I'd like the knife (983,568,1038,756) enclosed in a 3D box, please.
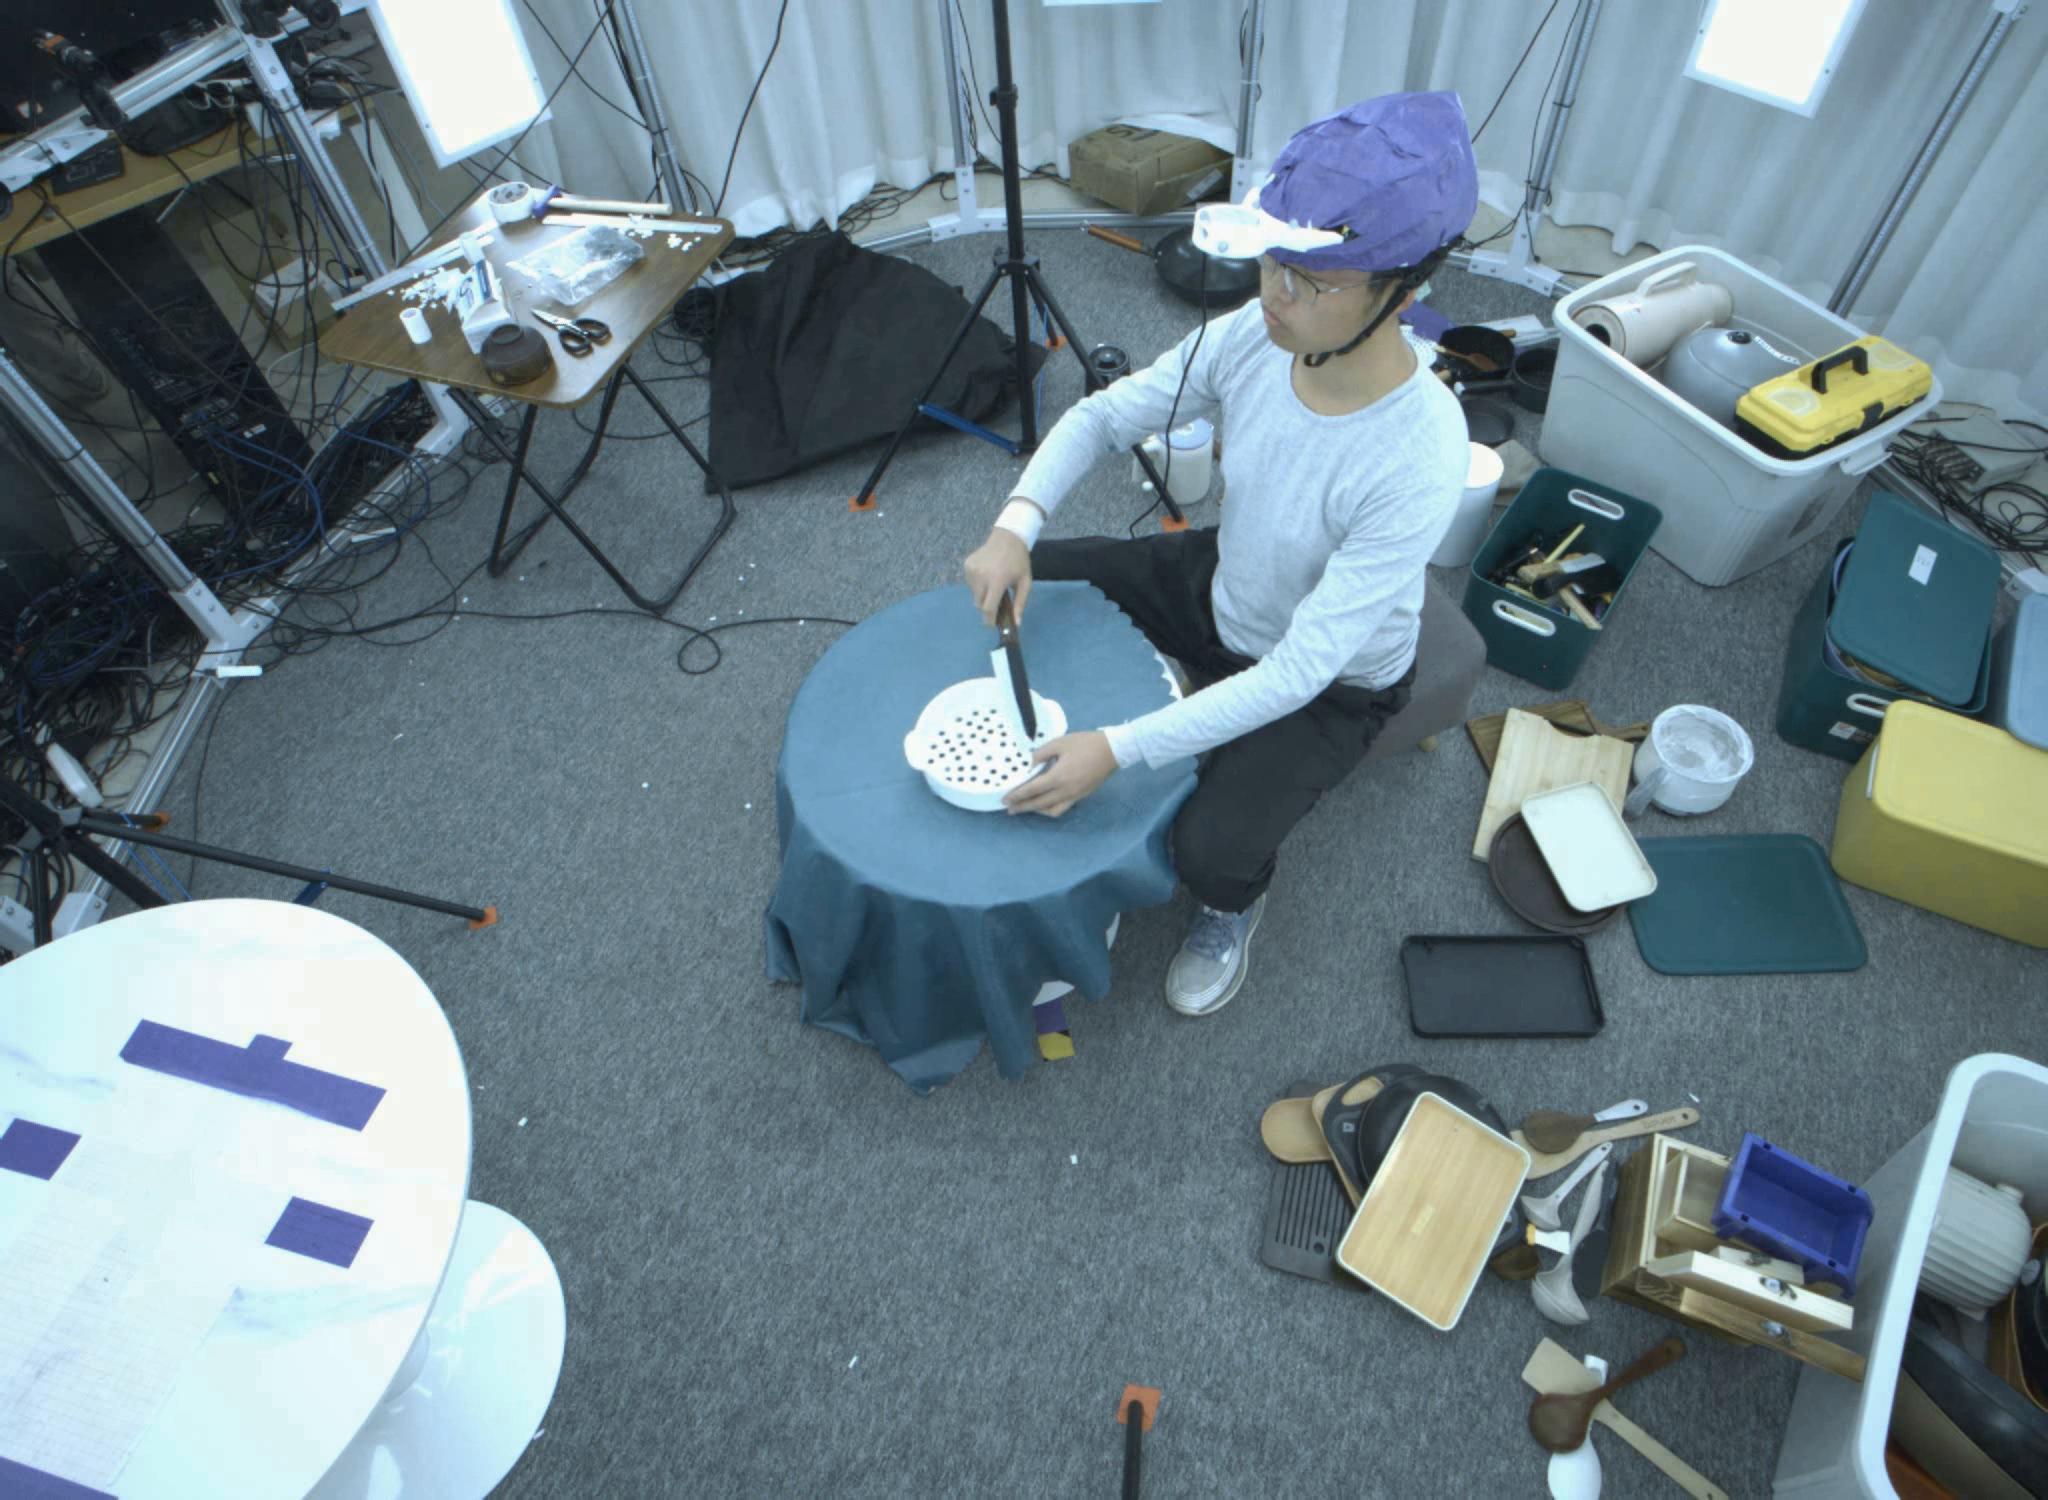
[{"bbox_3d":[-0.022,-0.126,1.736,0.050,0.020,0.286,-17,72,19],"label":"knife"}]

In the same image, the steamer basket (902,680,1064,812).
[{"bbox_3d":[-0.057,-0.004,1.759,0.232,0.070,0.198,-12,55,-8],"label":"steamer basket"}]
